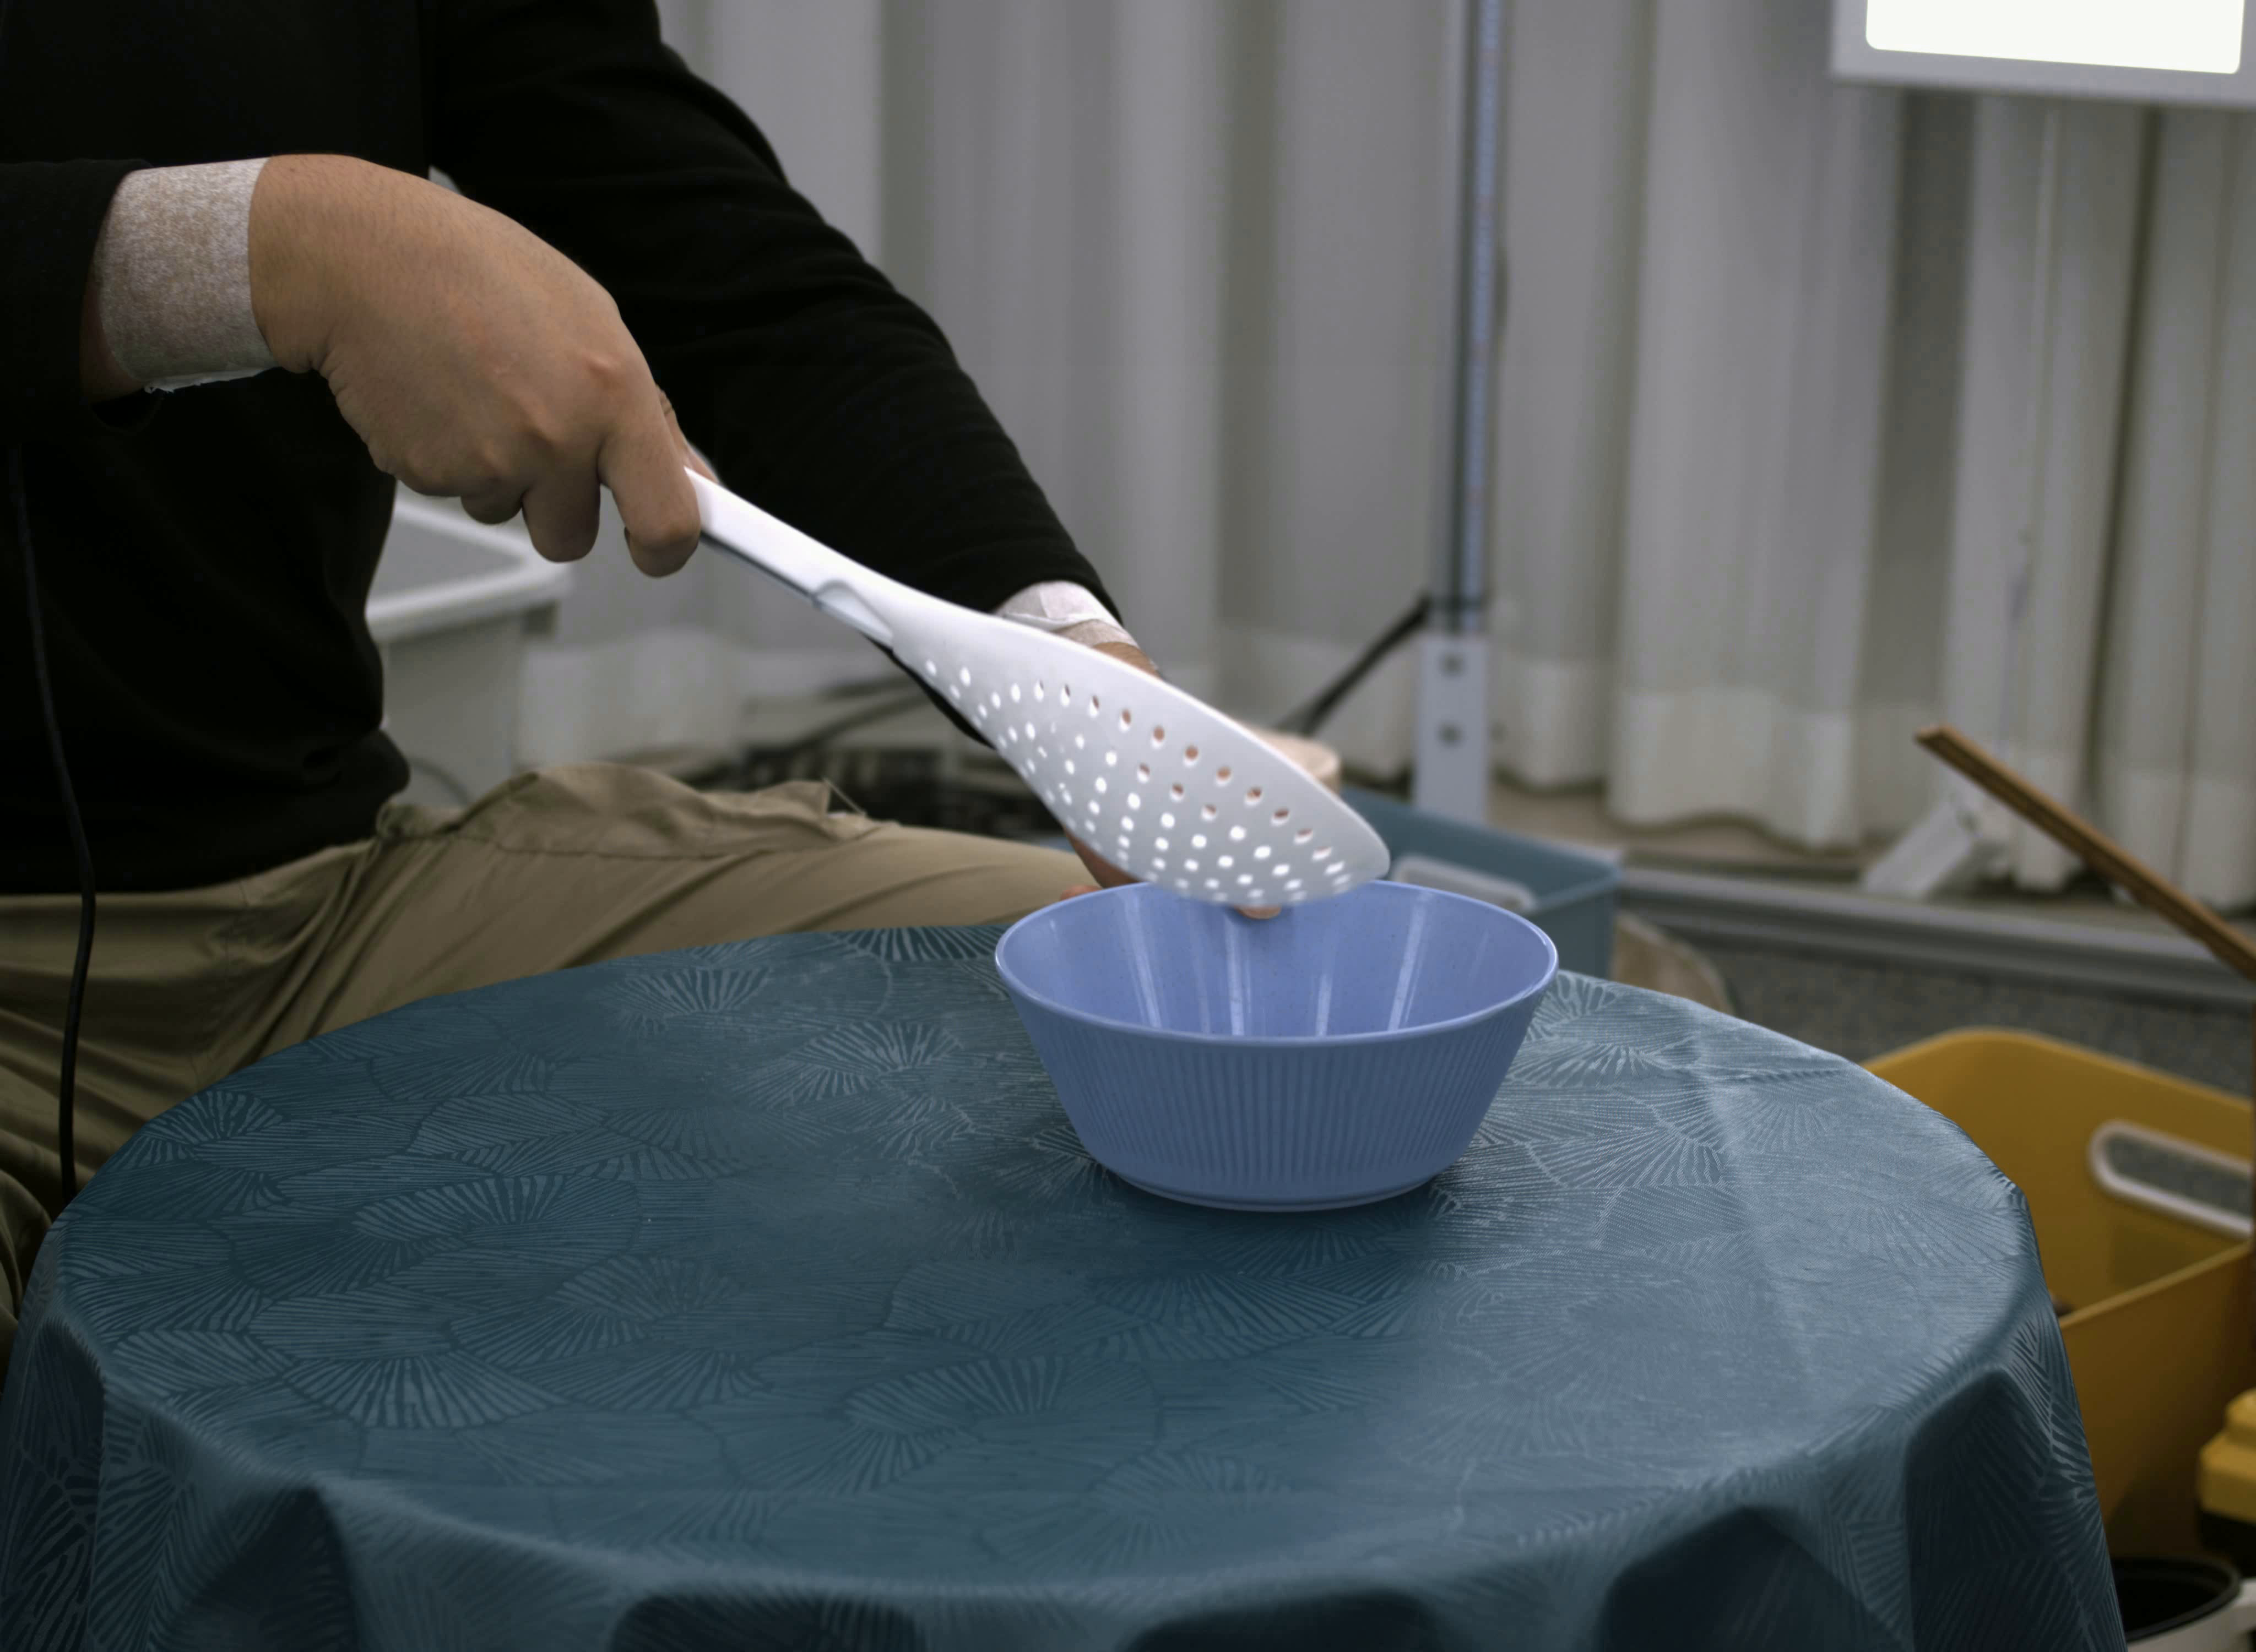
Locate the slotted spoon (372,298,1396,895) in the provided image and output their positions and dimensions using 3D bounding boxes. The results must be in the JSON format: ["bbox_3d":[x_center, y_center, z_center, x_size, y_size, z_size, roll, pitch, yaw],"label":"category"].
[{"bbox_3d":[-0.076,-0.070,1.568,0.348,0.046,0.137,34,-10,10],"label":"slotted spoon"}]

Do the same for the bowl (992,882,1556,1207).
[{"bbox_3d":[0.046,0.070,1.644,0.175,0.071,0.175,0,15,1],"label":"bowl"}]
